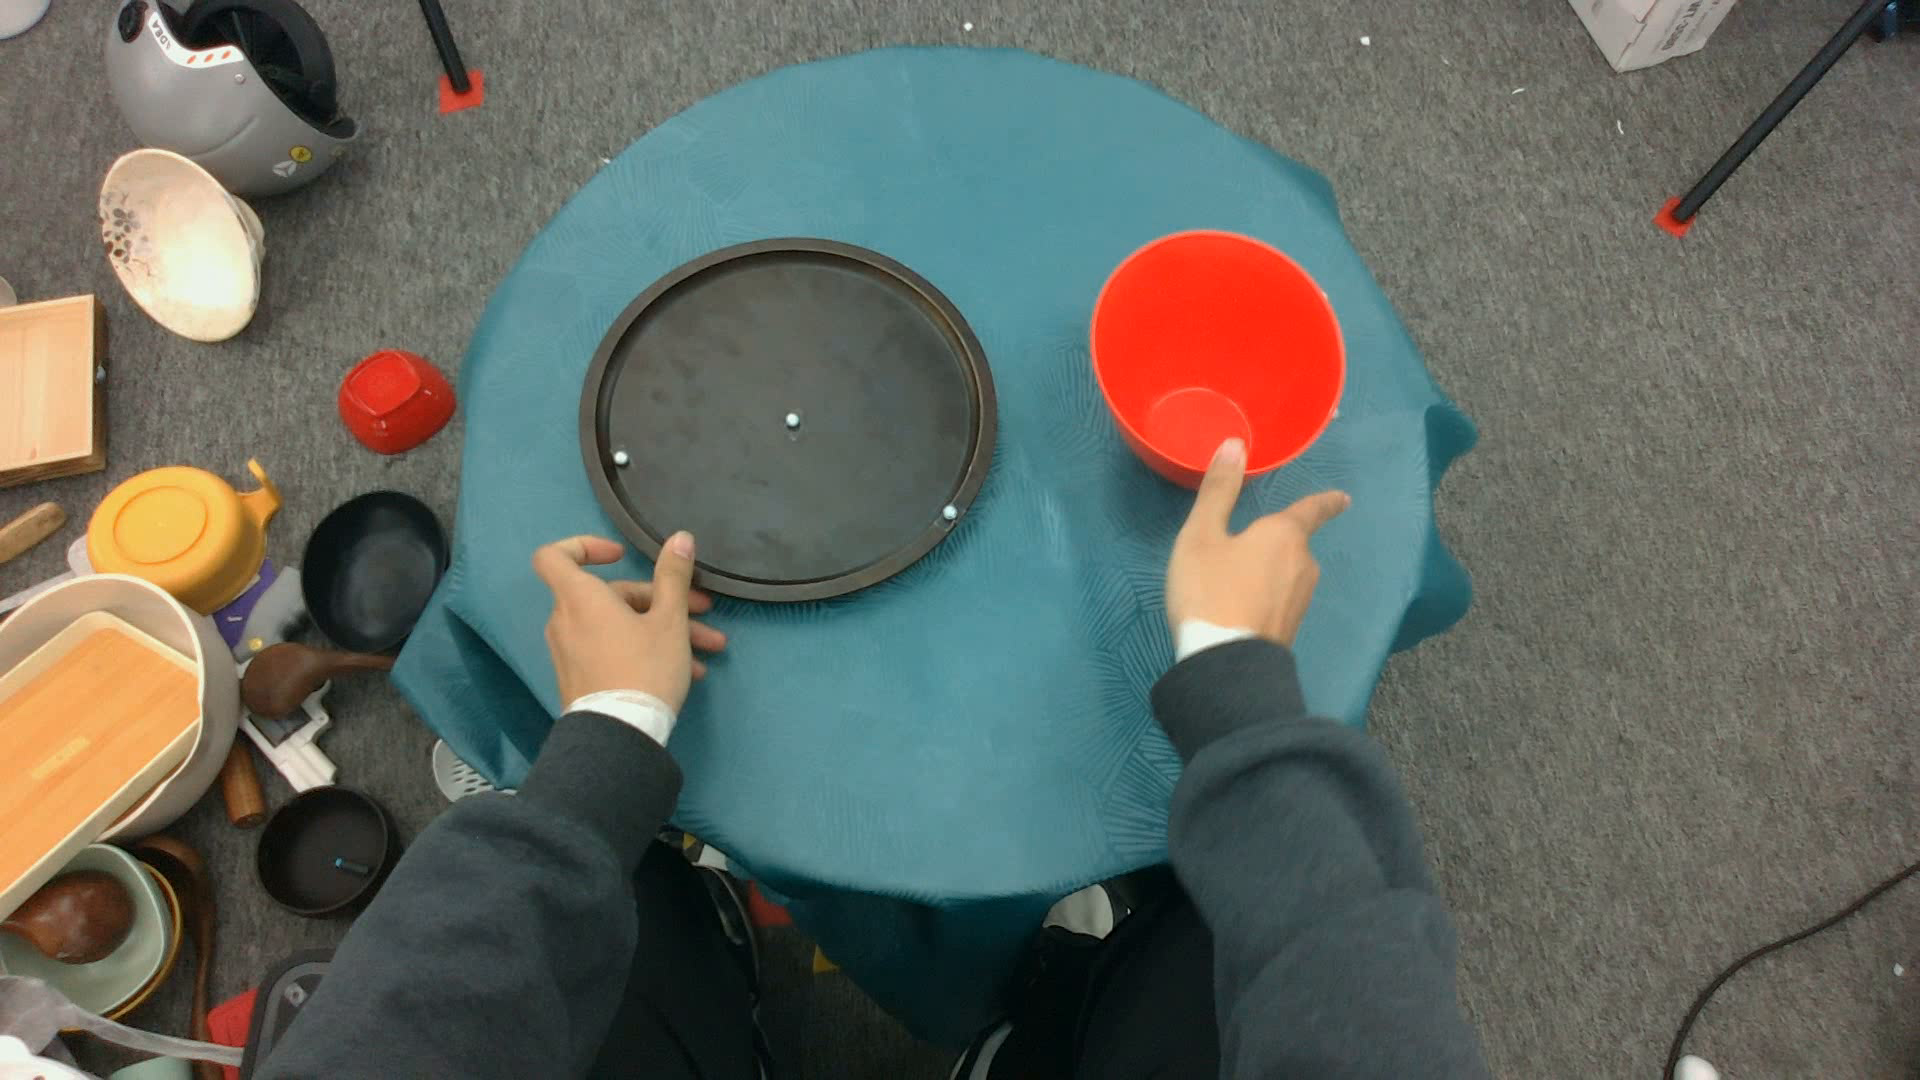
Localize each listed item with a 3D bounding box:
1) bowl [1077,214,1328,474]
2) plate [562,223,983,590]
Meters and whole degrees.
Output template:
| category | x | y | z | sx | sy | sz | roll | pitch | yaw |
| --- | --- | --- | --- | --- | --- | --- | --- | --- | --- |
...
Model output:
| category | x | y | z | sx | sy | sz | roll | pitch | yaw |
| --- | --- | --- | --- | --- | --- | --- | --- | --- | --- |
| bowl | 0.136 | -0.103 | 0.819 | 0.148 | 0.104 | 0.148 | 2 | 66 | -3 |
| plate | -0.113 | -0.085 | 0.839 | 0.255 | 0.029 | 0.255 | 2 | 66 | -4 |
